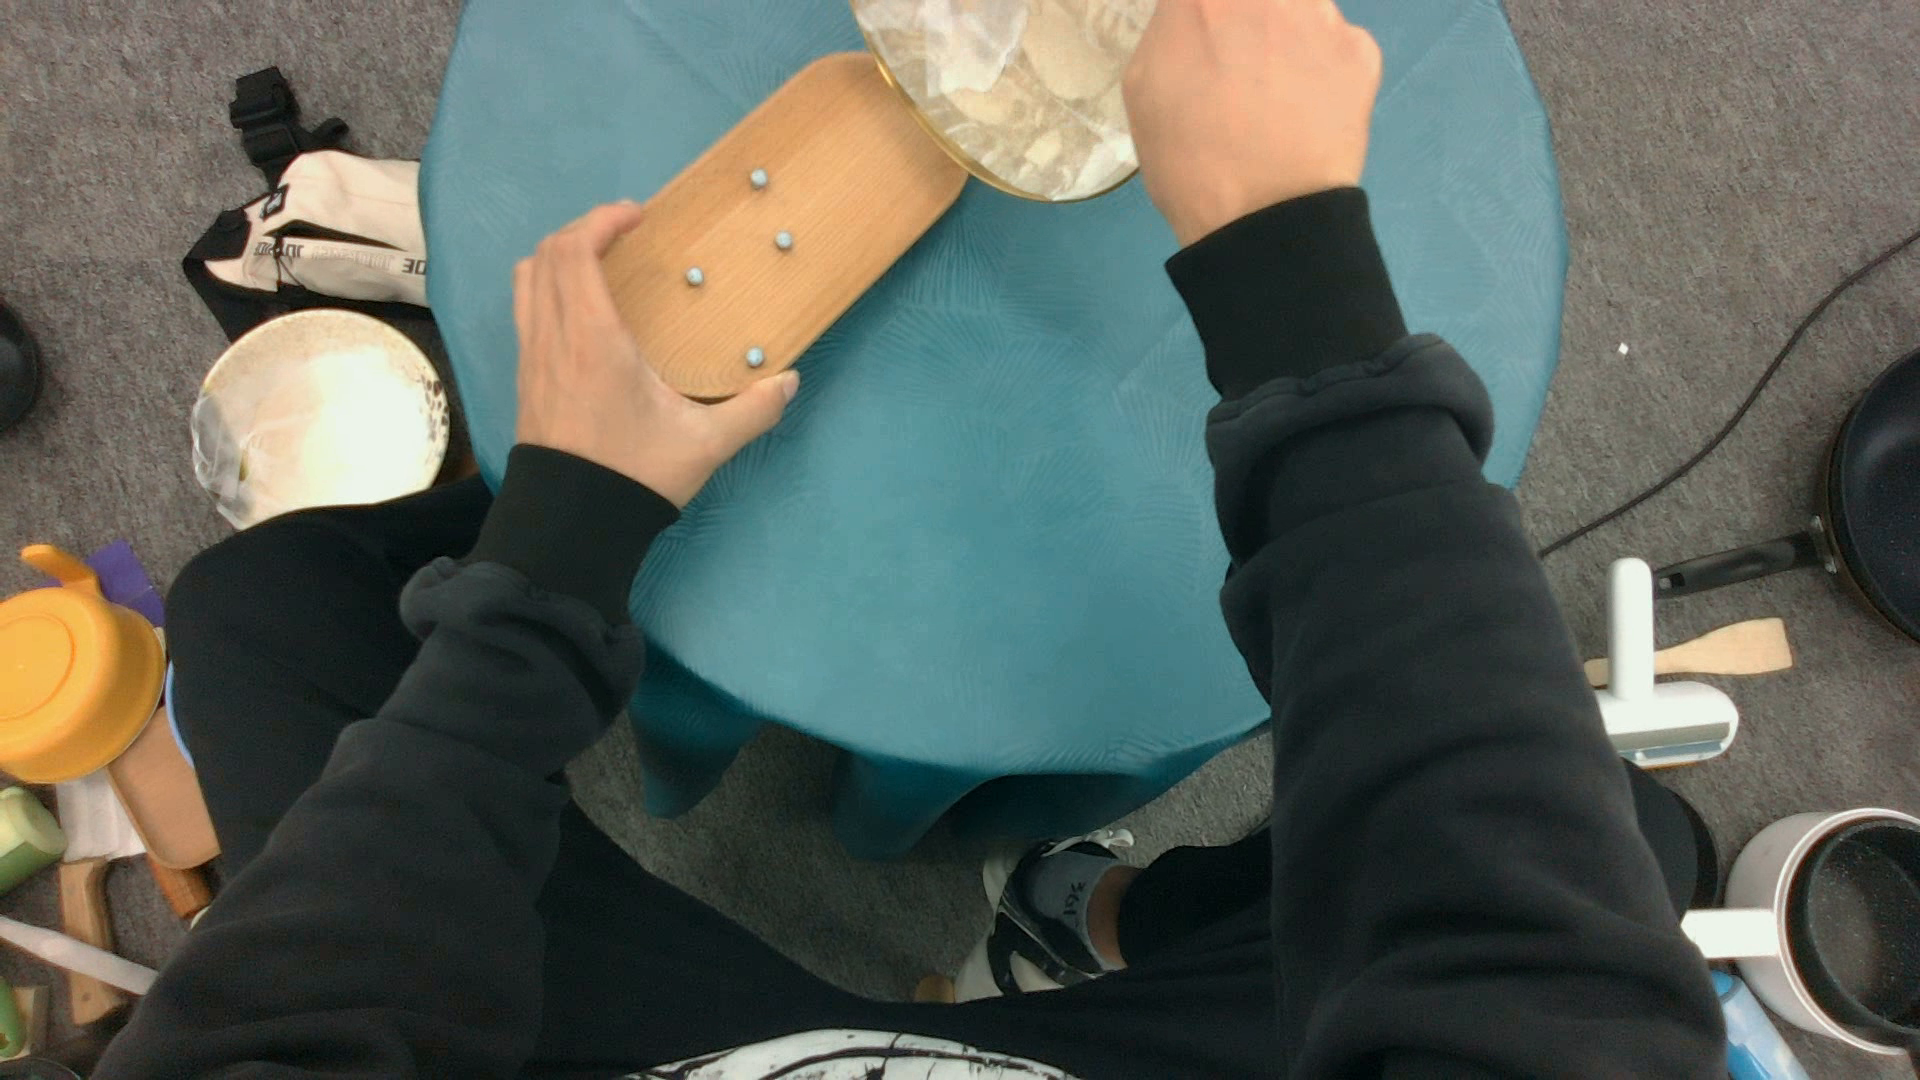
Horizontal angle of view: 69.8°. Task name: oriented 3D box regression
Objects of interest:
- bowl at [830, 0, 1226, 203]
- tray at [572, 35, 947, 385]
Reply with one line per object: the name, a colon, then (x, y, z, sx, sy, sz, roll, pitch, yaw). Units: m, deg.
bowl: (0.038, -0.258, 0.587, 0.095, 0.213, 0.215, -38, 85, -34)
tray: (-0.092, -0.165, 0.673, 0.101, 0.020, 0.232, 40, 63, -2)
